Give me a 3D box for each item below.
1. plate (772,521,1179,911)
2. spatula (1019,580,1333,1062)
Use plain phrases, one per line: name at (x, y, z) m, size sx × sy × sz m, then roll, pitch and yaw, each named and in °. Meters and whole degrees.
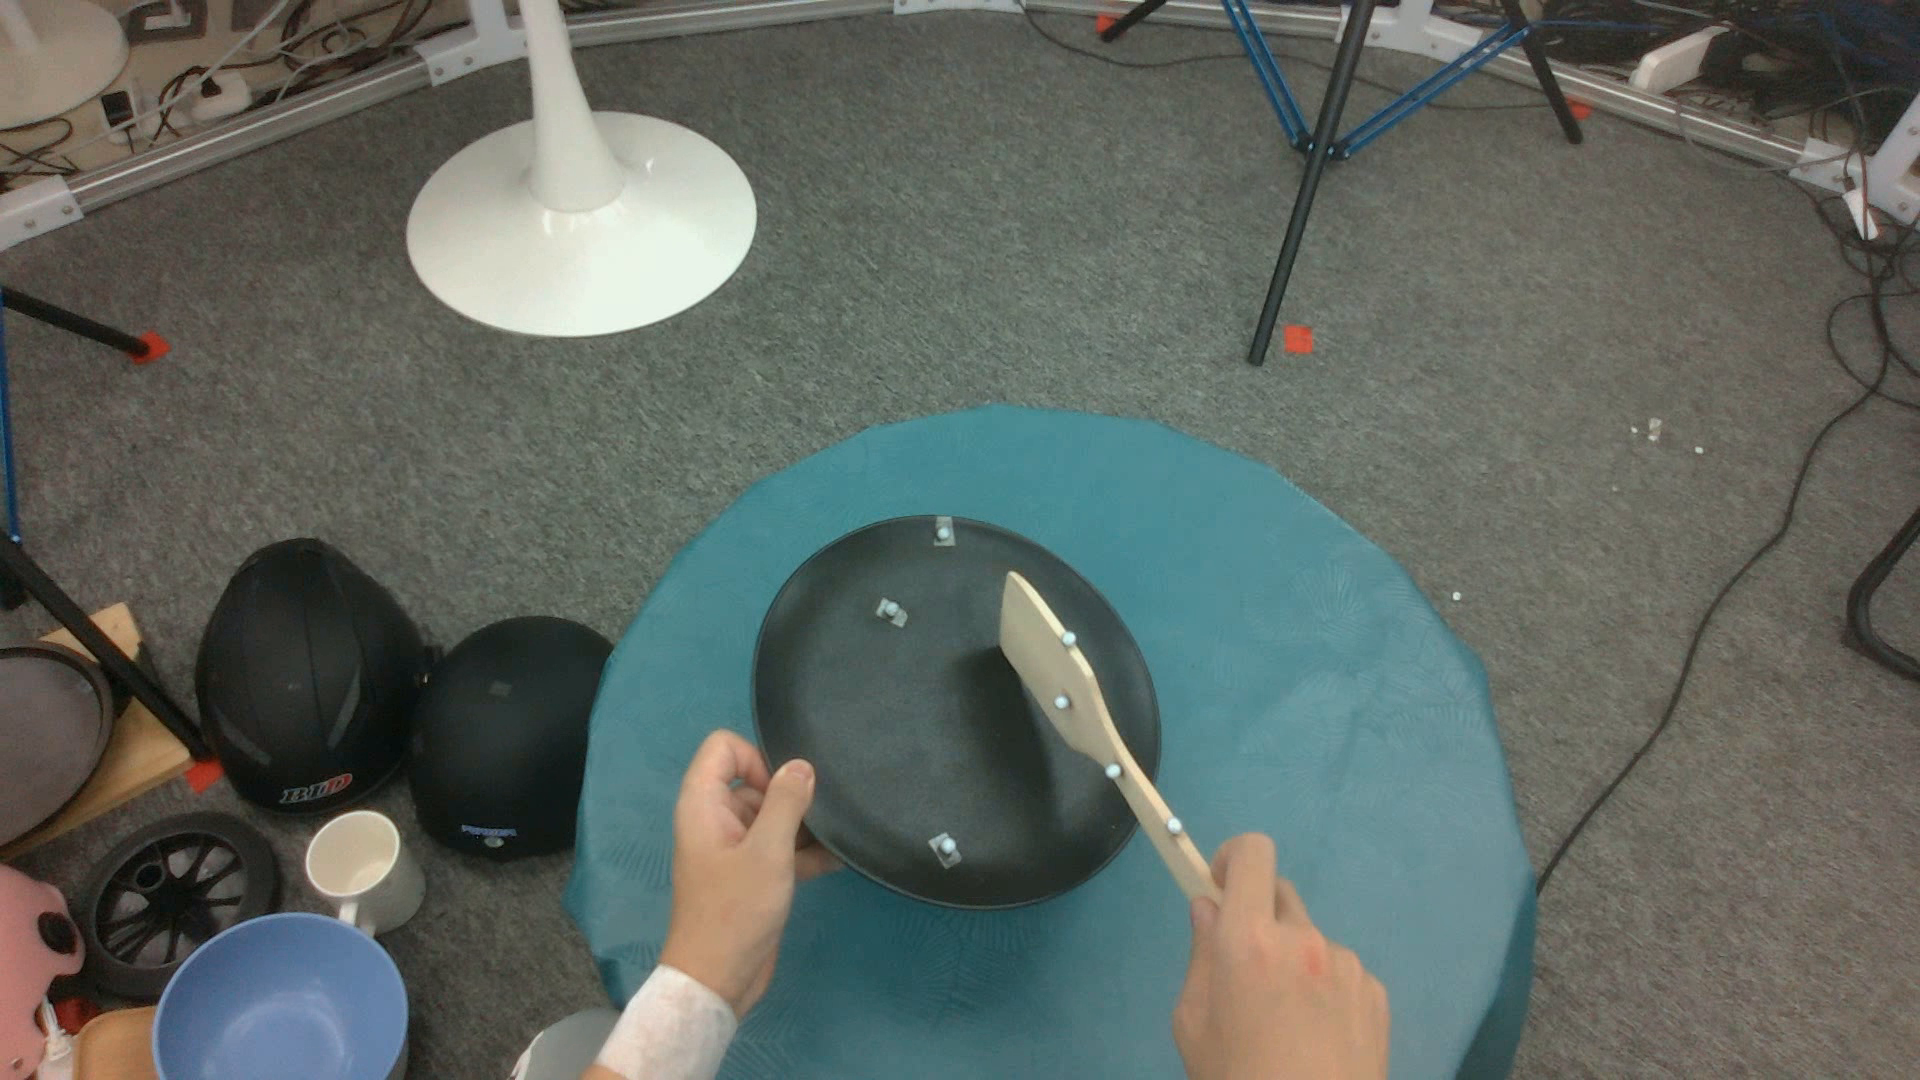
plate at (0.011, 0.097, 0.796) m, size 0.244 × 0.023 × 0.245 m, roll 10°, pitch 56°, yaw -14°
spatula at (0.104, 0.138, 0.715) m, size 0.011 × 0.072 × 0.293 m, roll -17°, pitch 49°, yaw -20°
